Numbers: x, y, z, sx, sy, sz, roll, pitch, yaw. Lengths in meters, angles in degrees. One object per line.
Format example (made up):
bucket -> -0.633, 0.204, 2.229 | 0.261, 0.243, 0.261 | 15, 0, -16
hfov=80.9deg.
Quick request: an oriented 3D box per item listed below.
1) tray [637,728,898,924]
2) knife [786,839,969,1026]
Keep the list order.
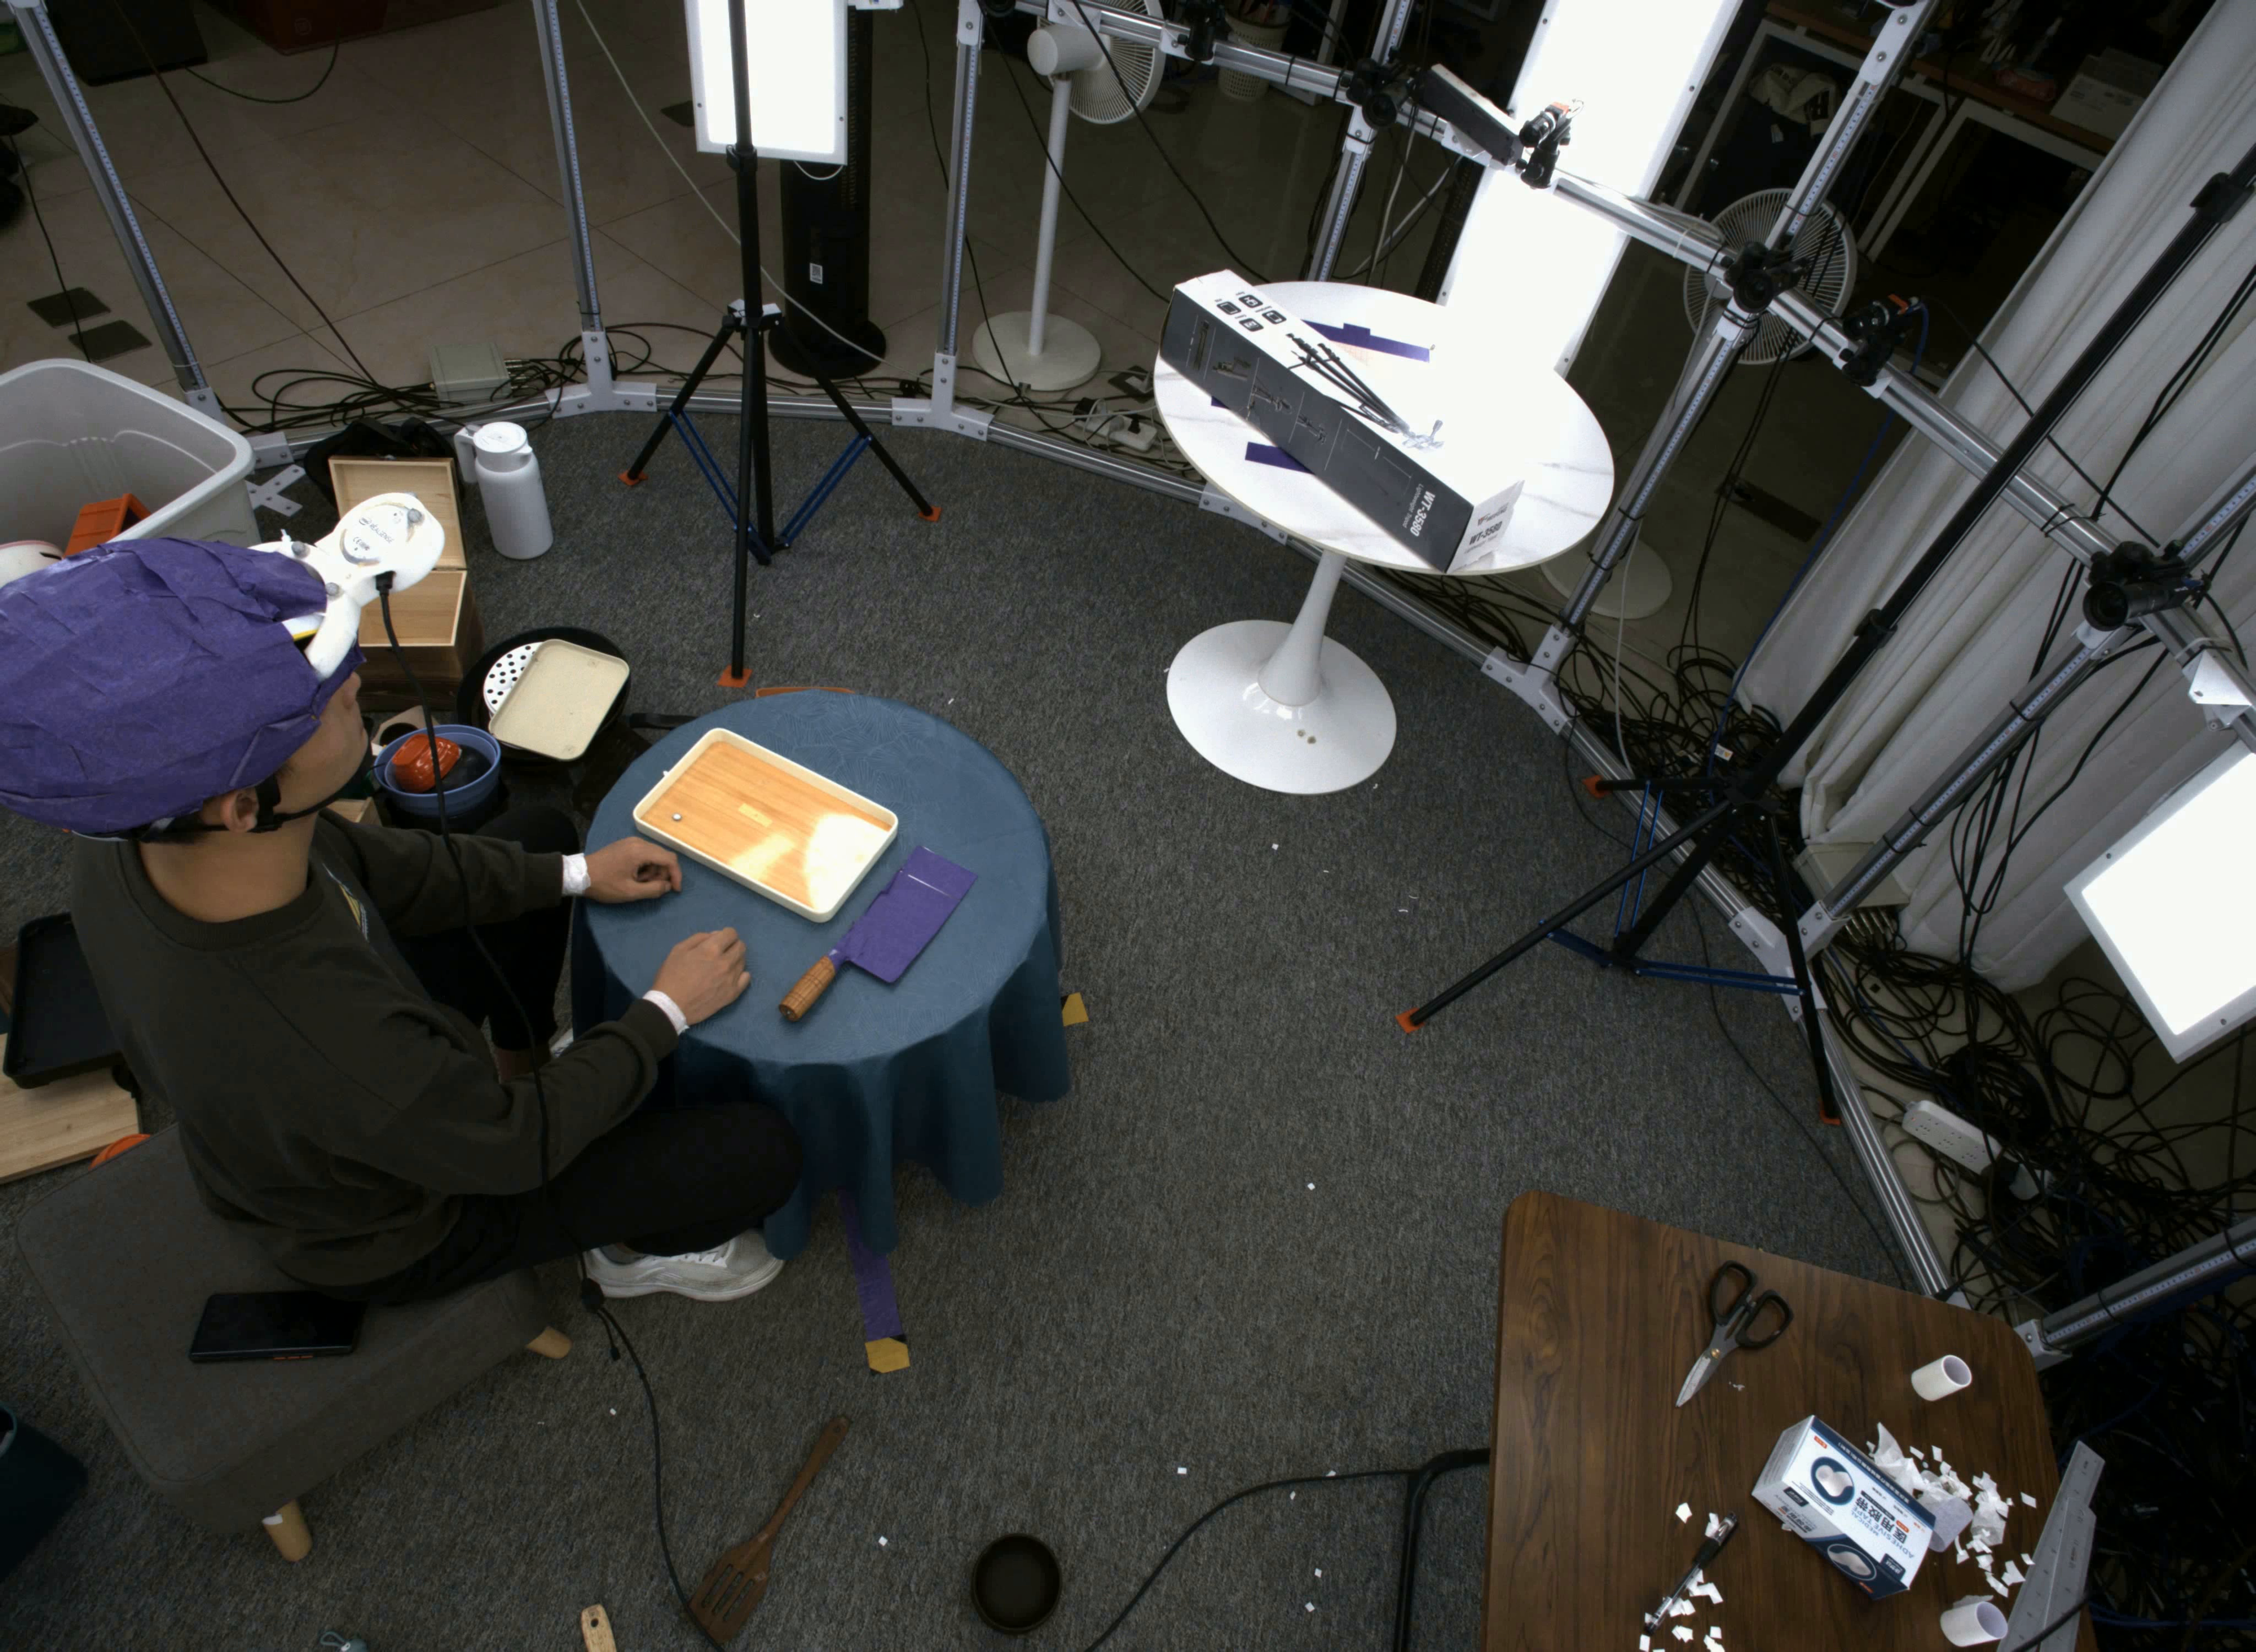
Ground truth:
tray -> -0.474, -0.005, 1.708 | 0.296, 0.028, 0.190 | 26, 53, 6
knife -> -0.307, 0.137, 1.646 | 0.102, 0.033, 0.313 | 27, 52, 7
